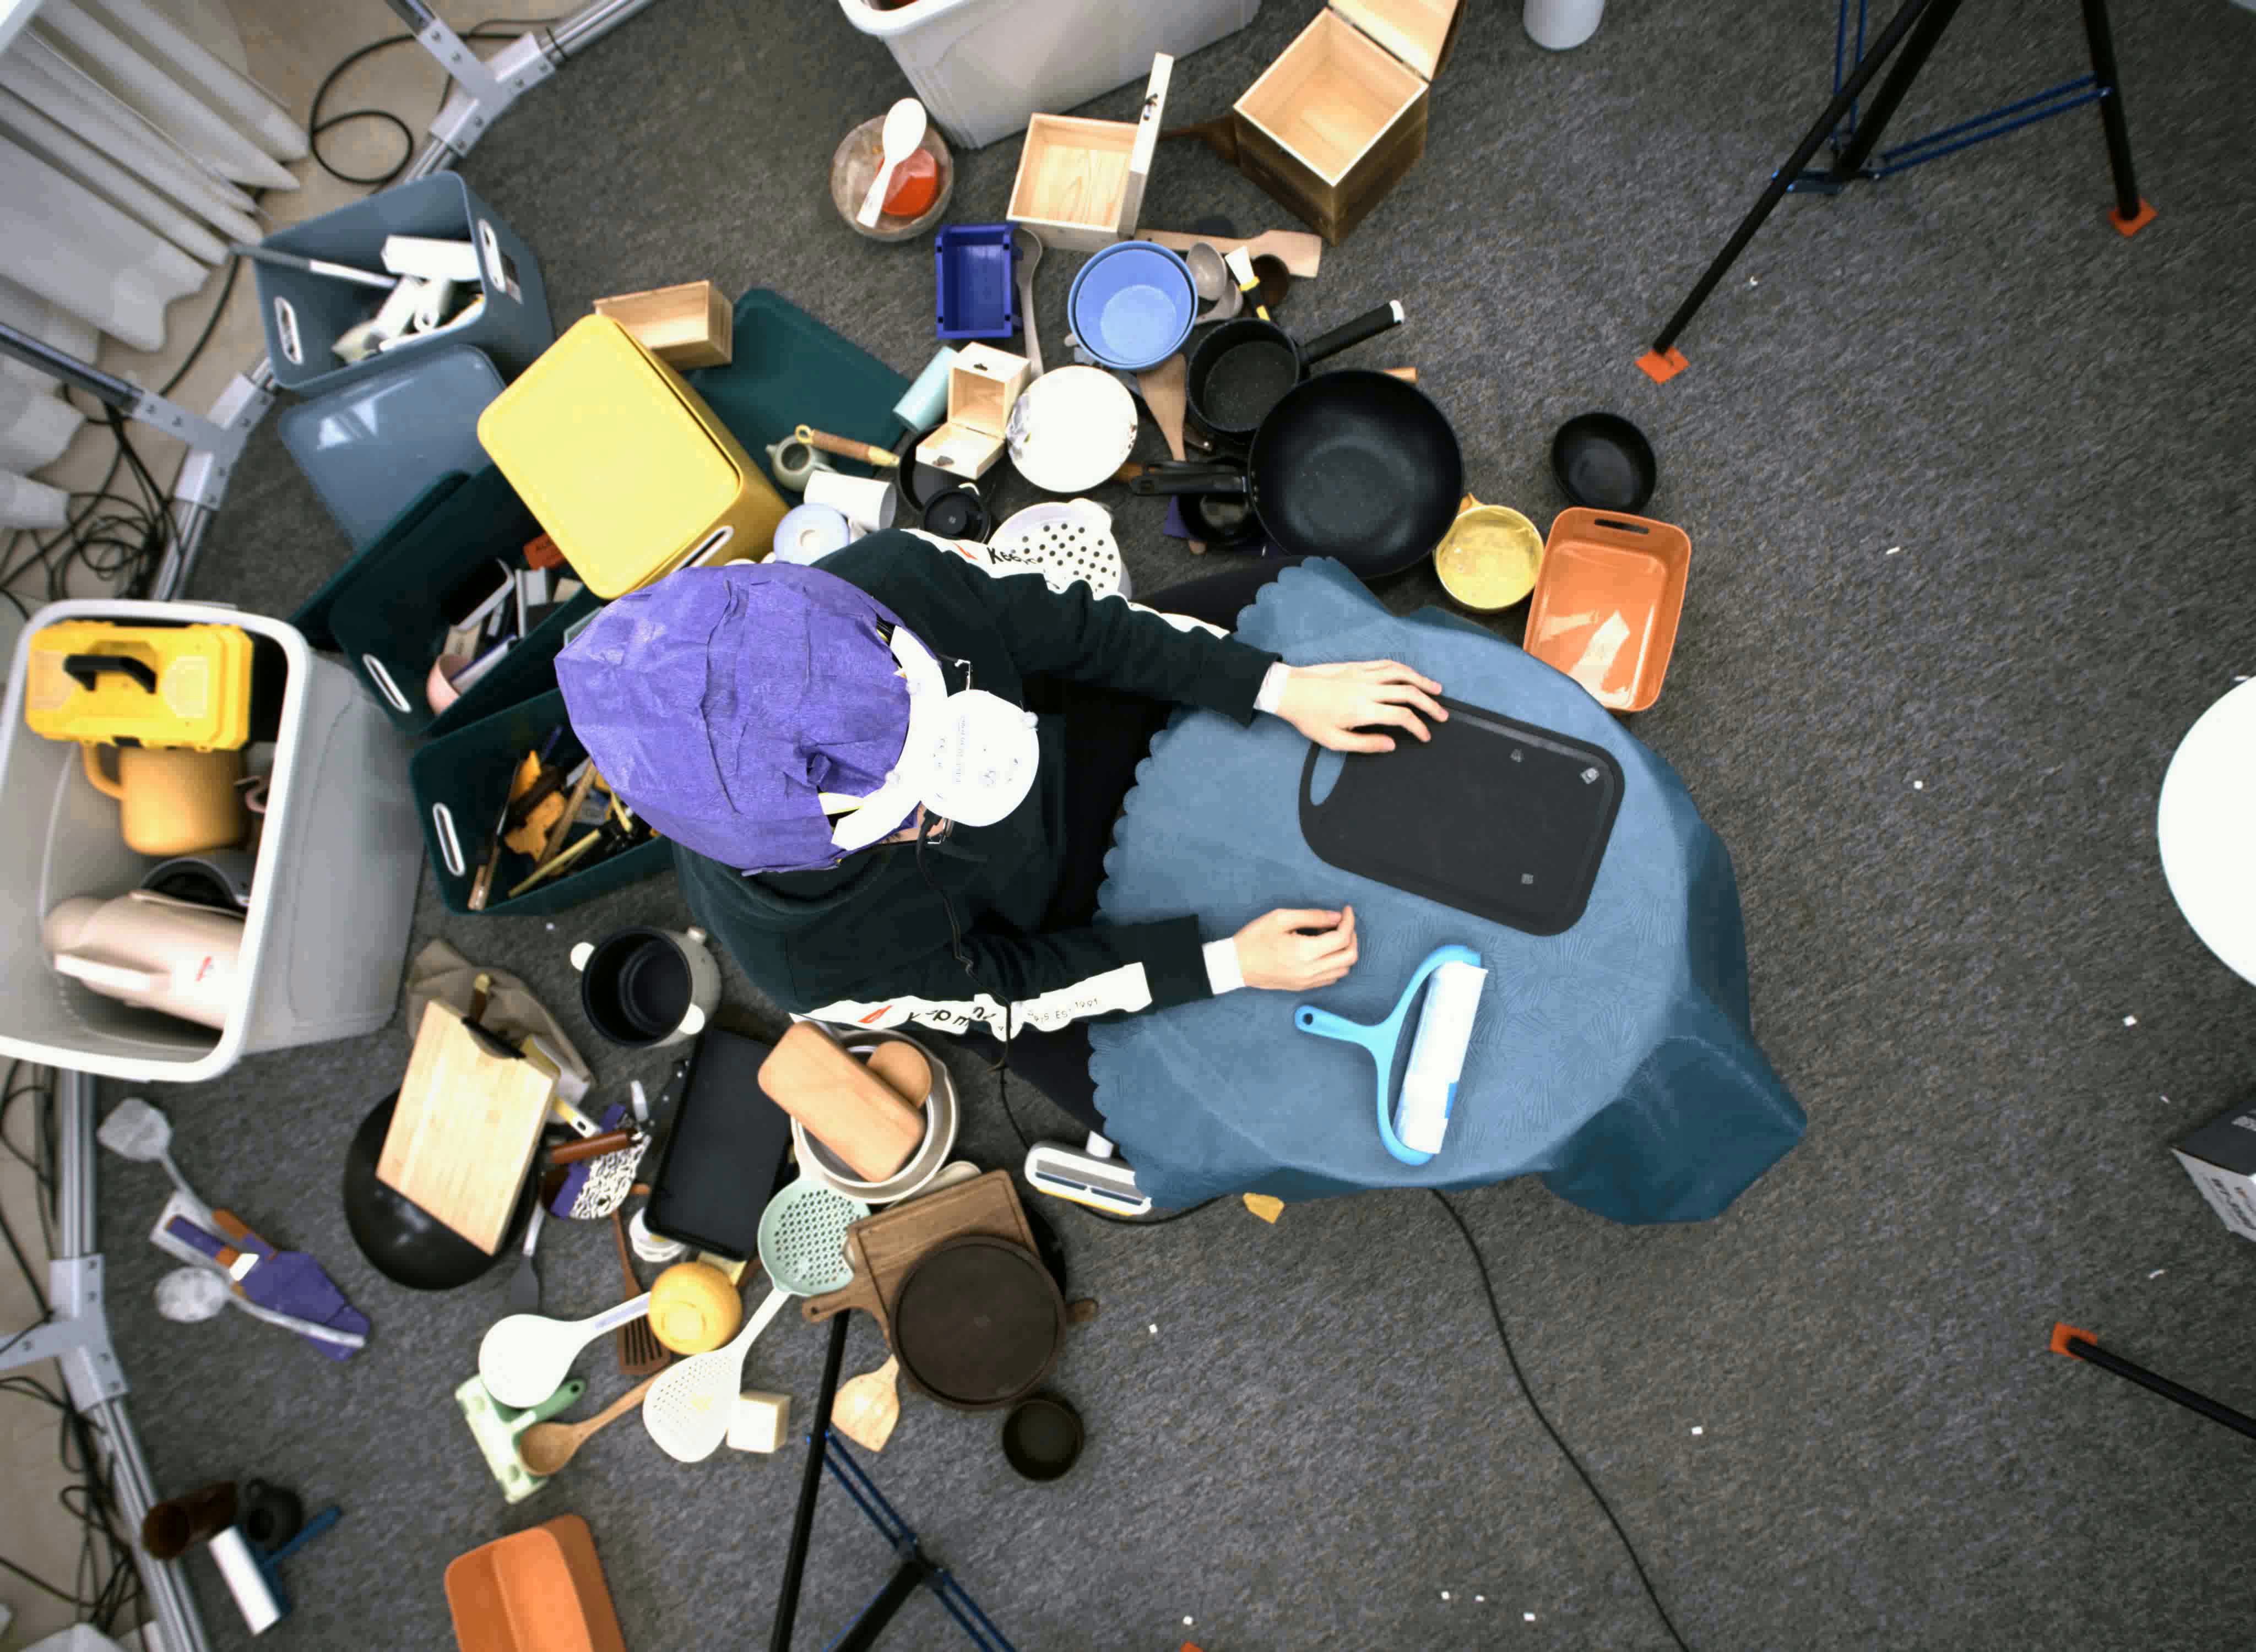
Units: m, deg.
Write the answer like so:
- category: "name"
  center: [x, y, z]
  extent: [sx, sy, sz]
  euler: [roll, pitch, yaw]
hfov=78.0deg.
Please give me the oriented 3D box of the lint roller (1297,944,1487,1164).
- category: "lint roller"
  center: [0.261, 0.219, 1.421]
  extent: [0.180, 0.068, 0.229]
  euler: [12, 91, 9]

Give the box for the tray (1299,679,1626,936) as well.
- category: "tray"
  center: [0.342, -0.027, 1.444]
  extent: [0.325, 0.010, 0.211]
  euler: [20, 91, 11]
